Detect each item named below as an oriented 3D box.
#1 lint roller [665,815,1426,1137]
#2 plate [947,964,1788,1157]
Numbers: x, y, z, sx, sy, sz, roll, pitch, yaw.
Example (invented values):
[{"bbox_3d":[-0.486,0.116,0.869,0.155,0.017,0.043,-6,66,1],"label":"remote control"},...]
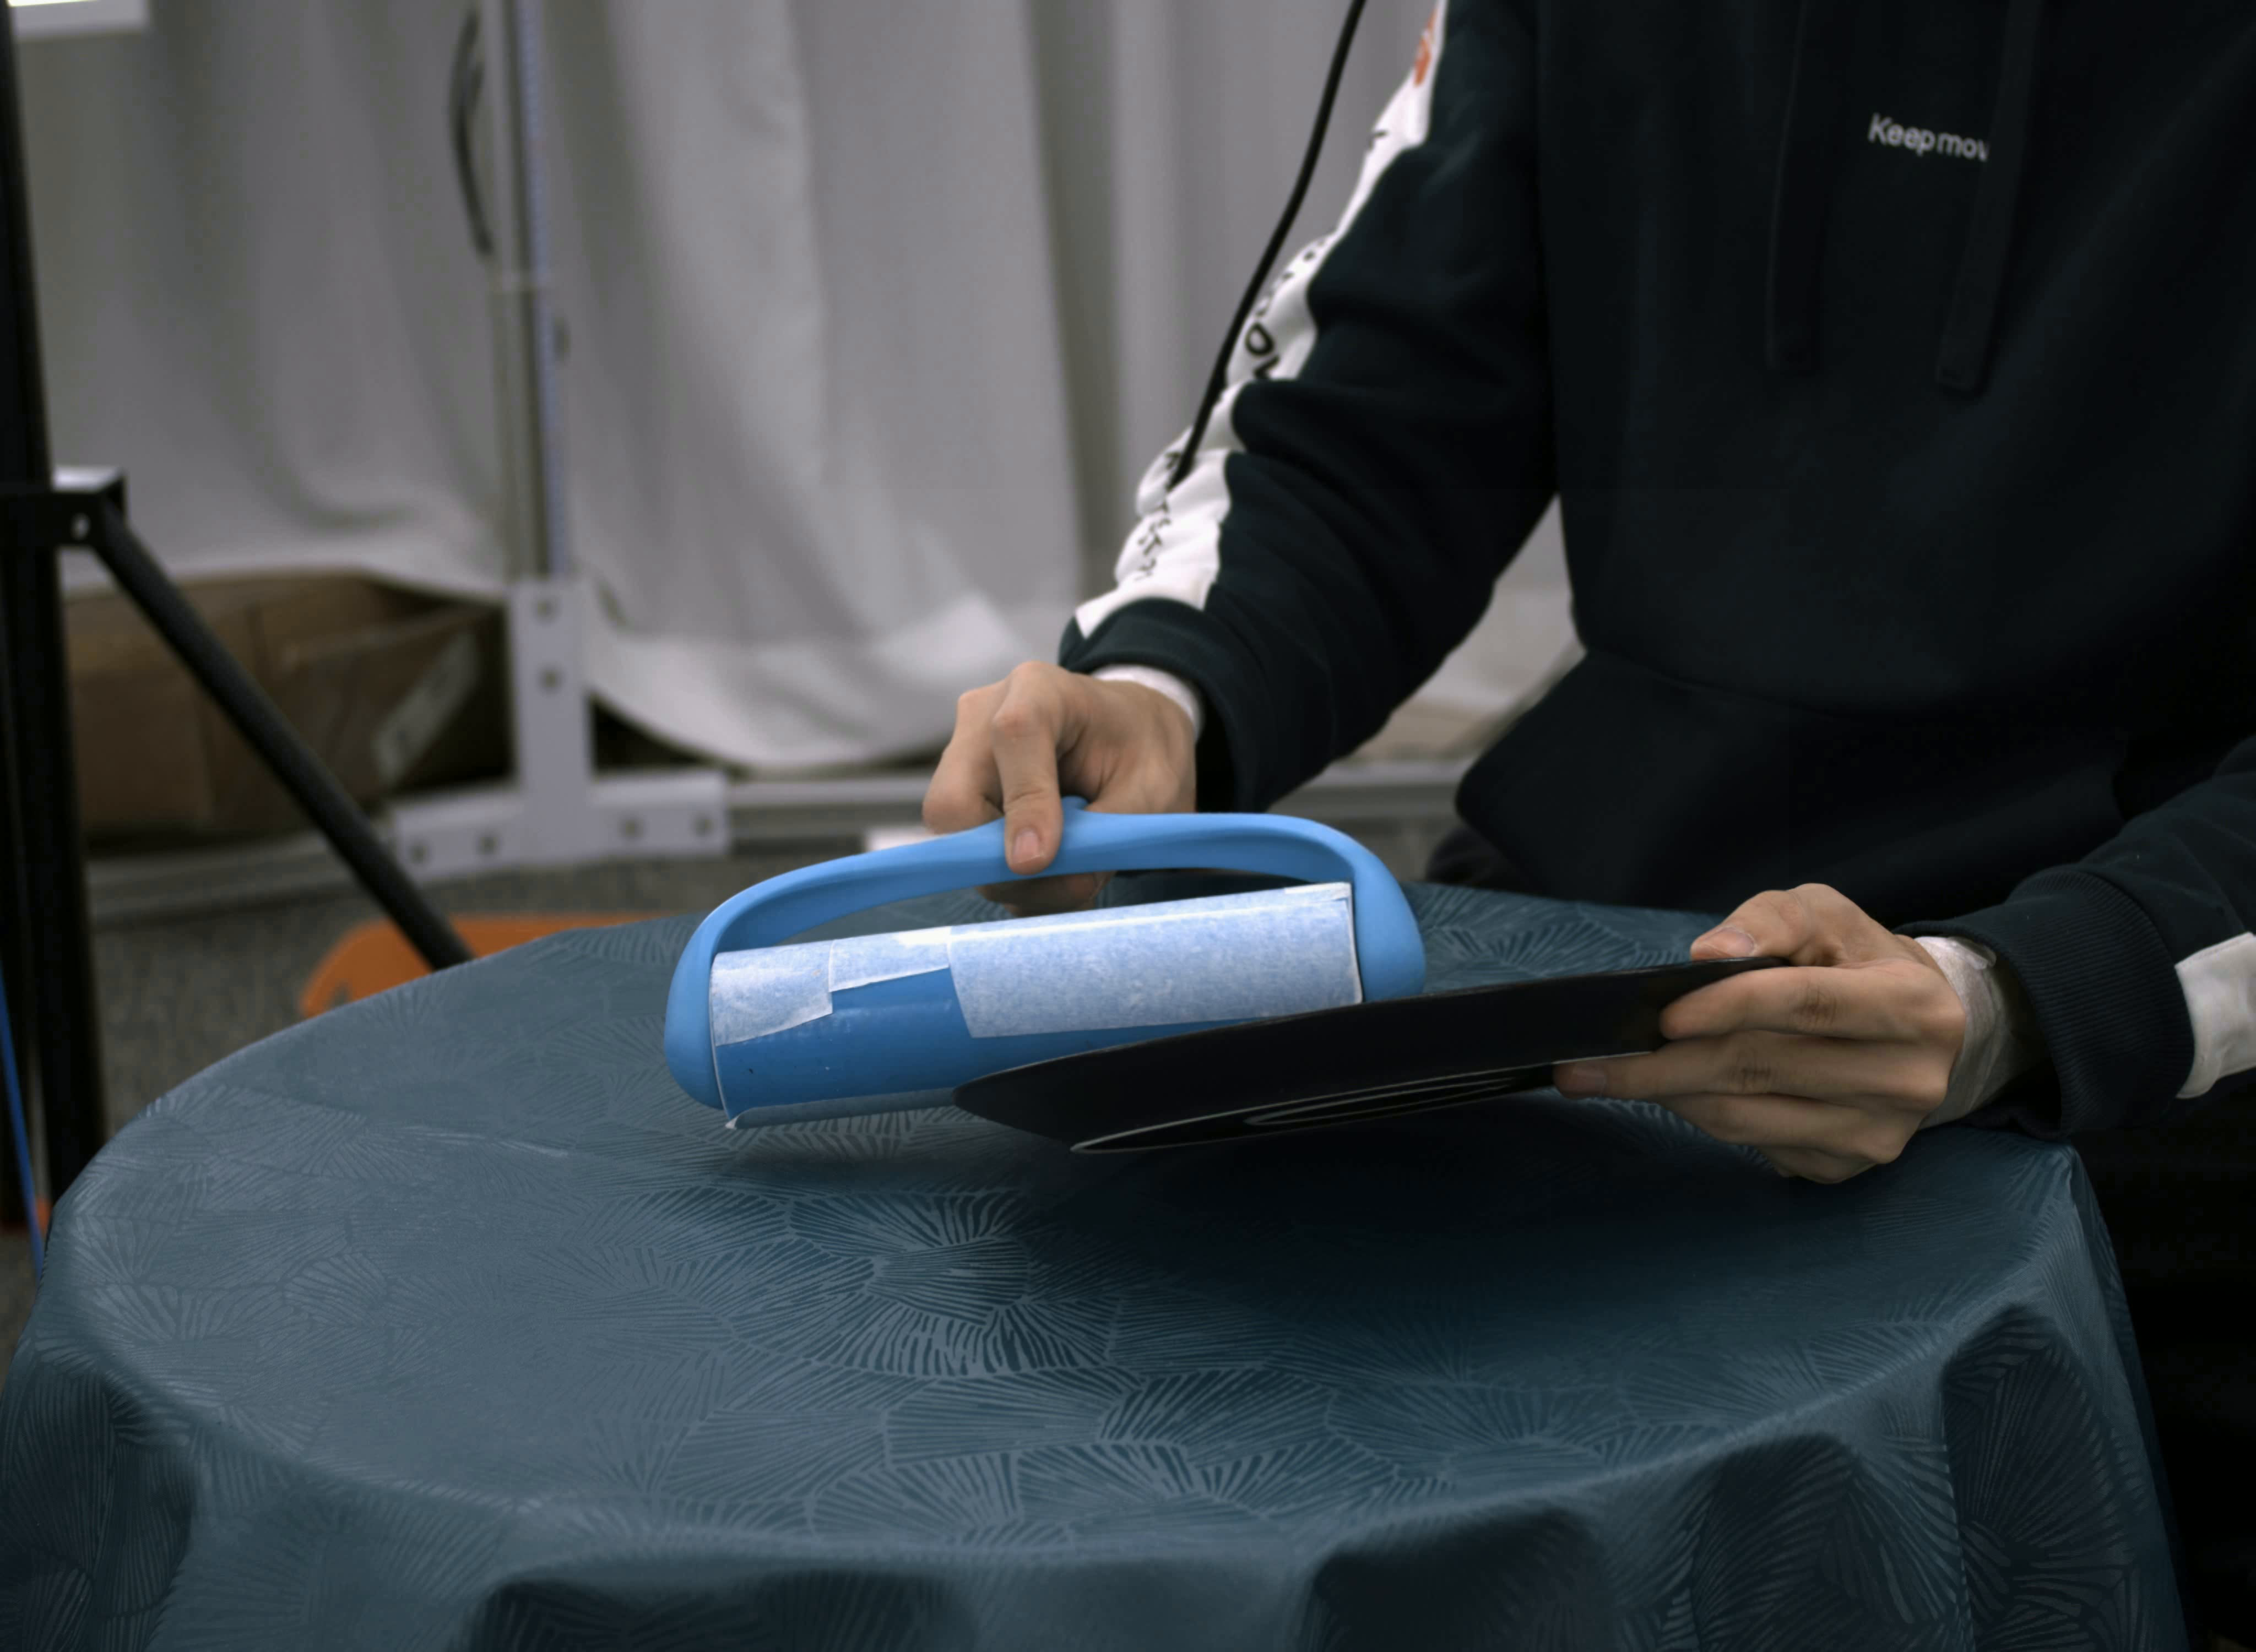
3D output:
[{"bbox_3d":[-0.026,0.029,1.632,0.229,0.067,0.181,-9,24,5],"label":"lint roller"},{"bbox_3d":[0.070,0.070,1.517,0.243,0.023,0.244,-8,-6,-2],"label":"plate"}]
